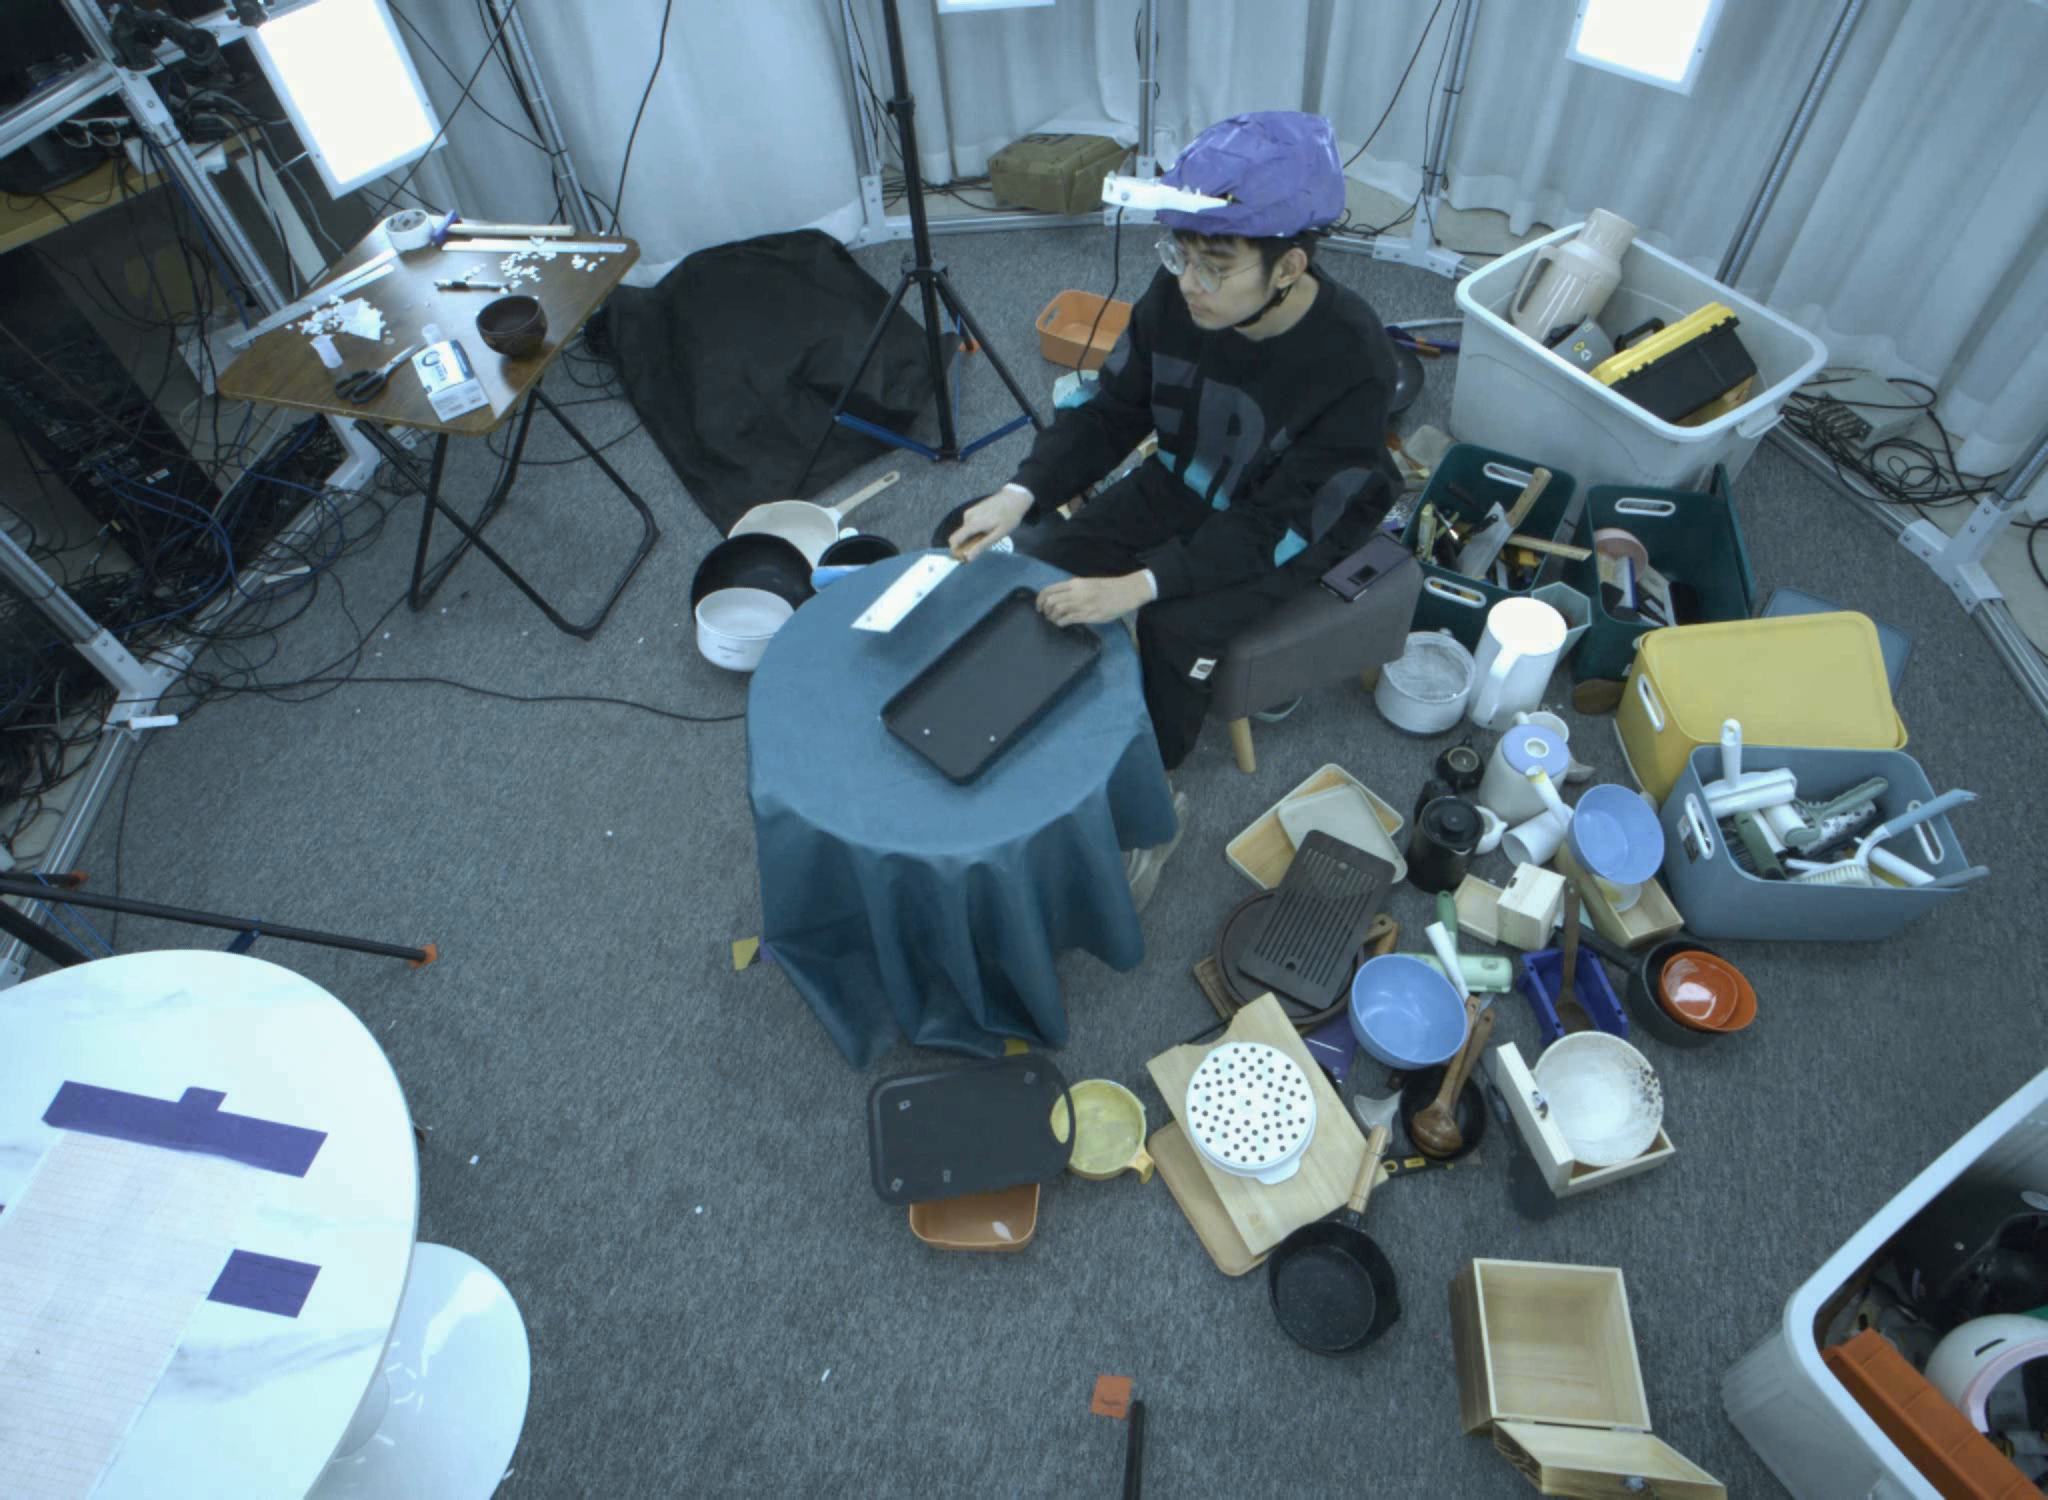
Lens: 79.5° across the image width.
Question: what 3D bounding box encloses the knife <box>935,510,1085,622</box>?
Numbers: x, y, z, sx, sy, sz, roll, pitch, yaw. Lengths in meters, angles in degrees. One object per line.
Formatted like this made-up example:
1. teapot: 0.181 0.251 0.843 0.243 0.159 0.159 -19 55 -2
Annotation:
1. knife: -0.025 -0.290 1.913 0.091 0.021 0.307 16 50 42

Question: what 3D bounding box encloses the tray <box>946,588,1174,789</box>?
1. tray: 0.055 -0.095 1.810 0.319 0.037 0.181 -42 64 -18
